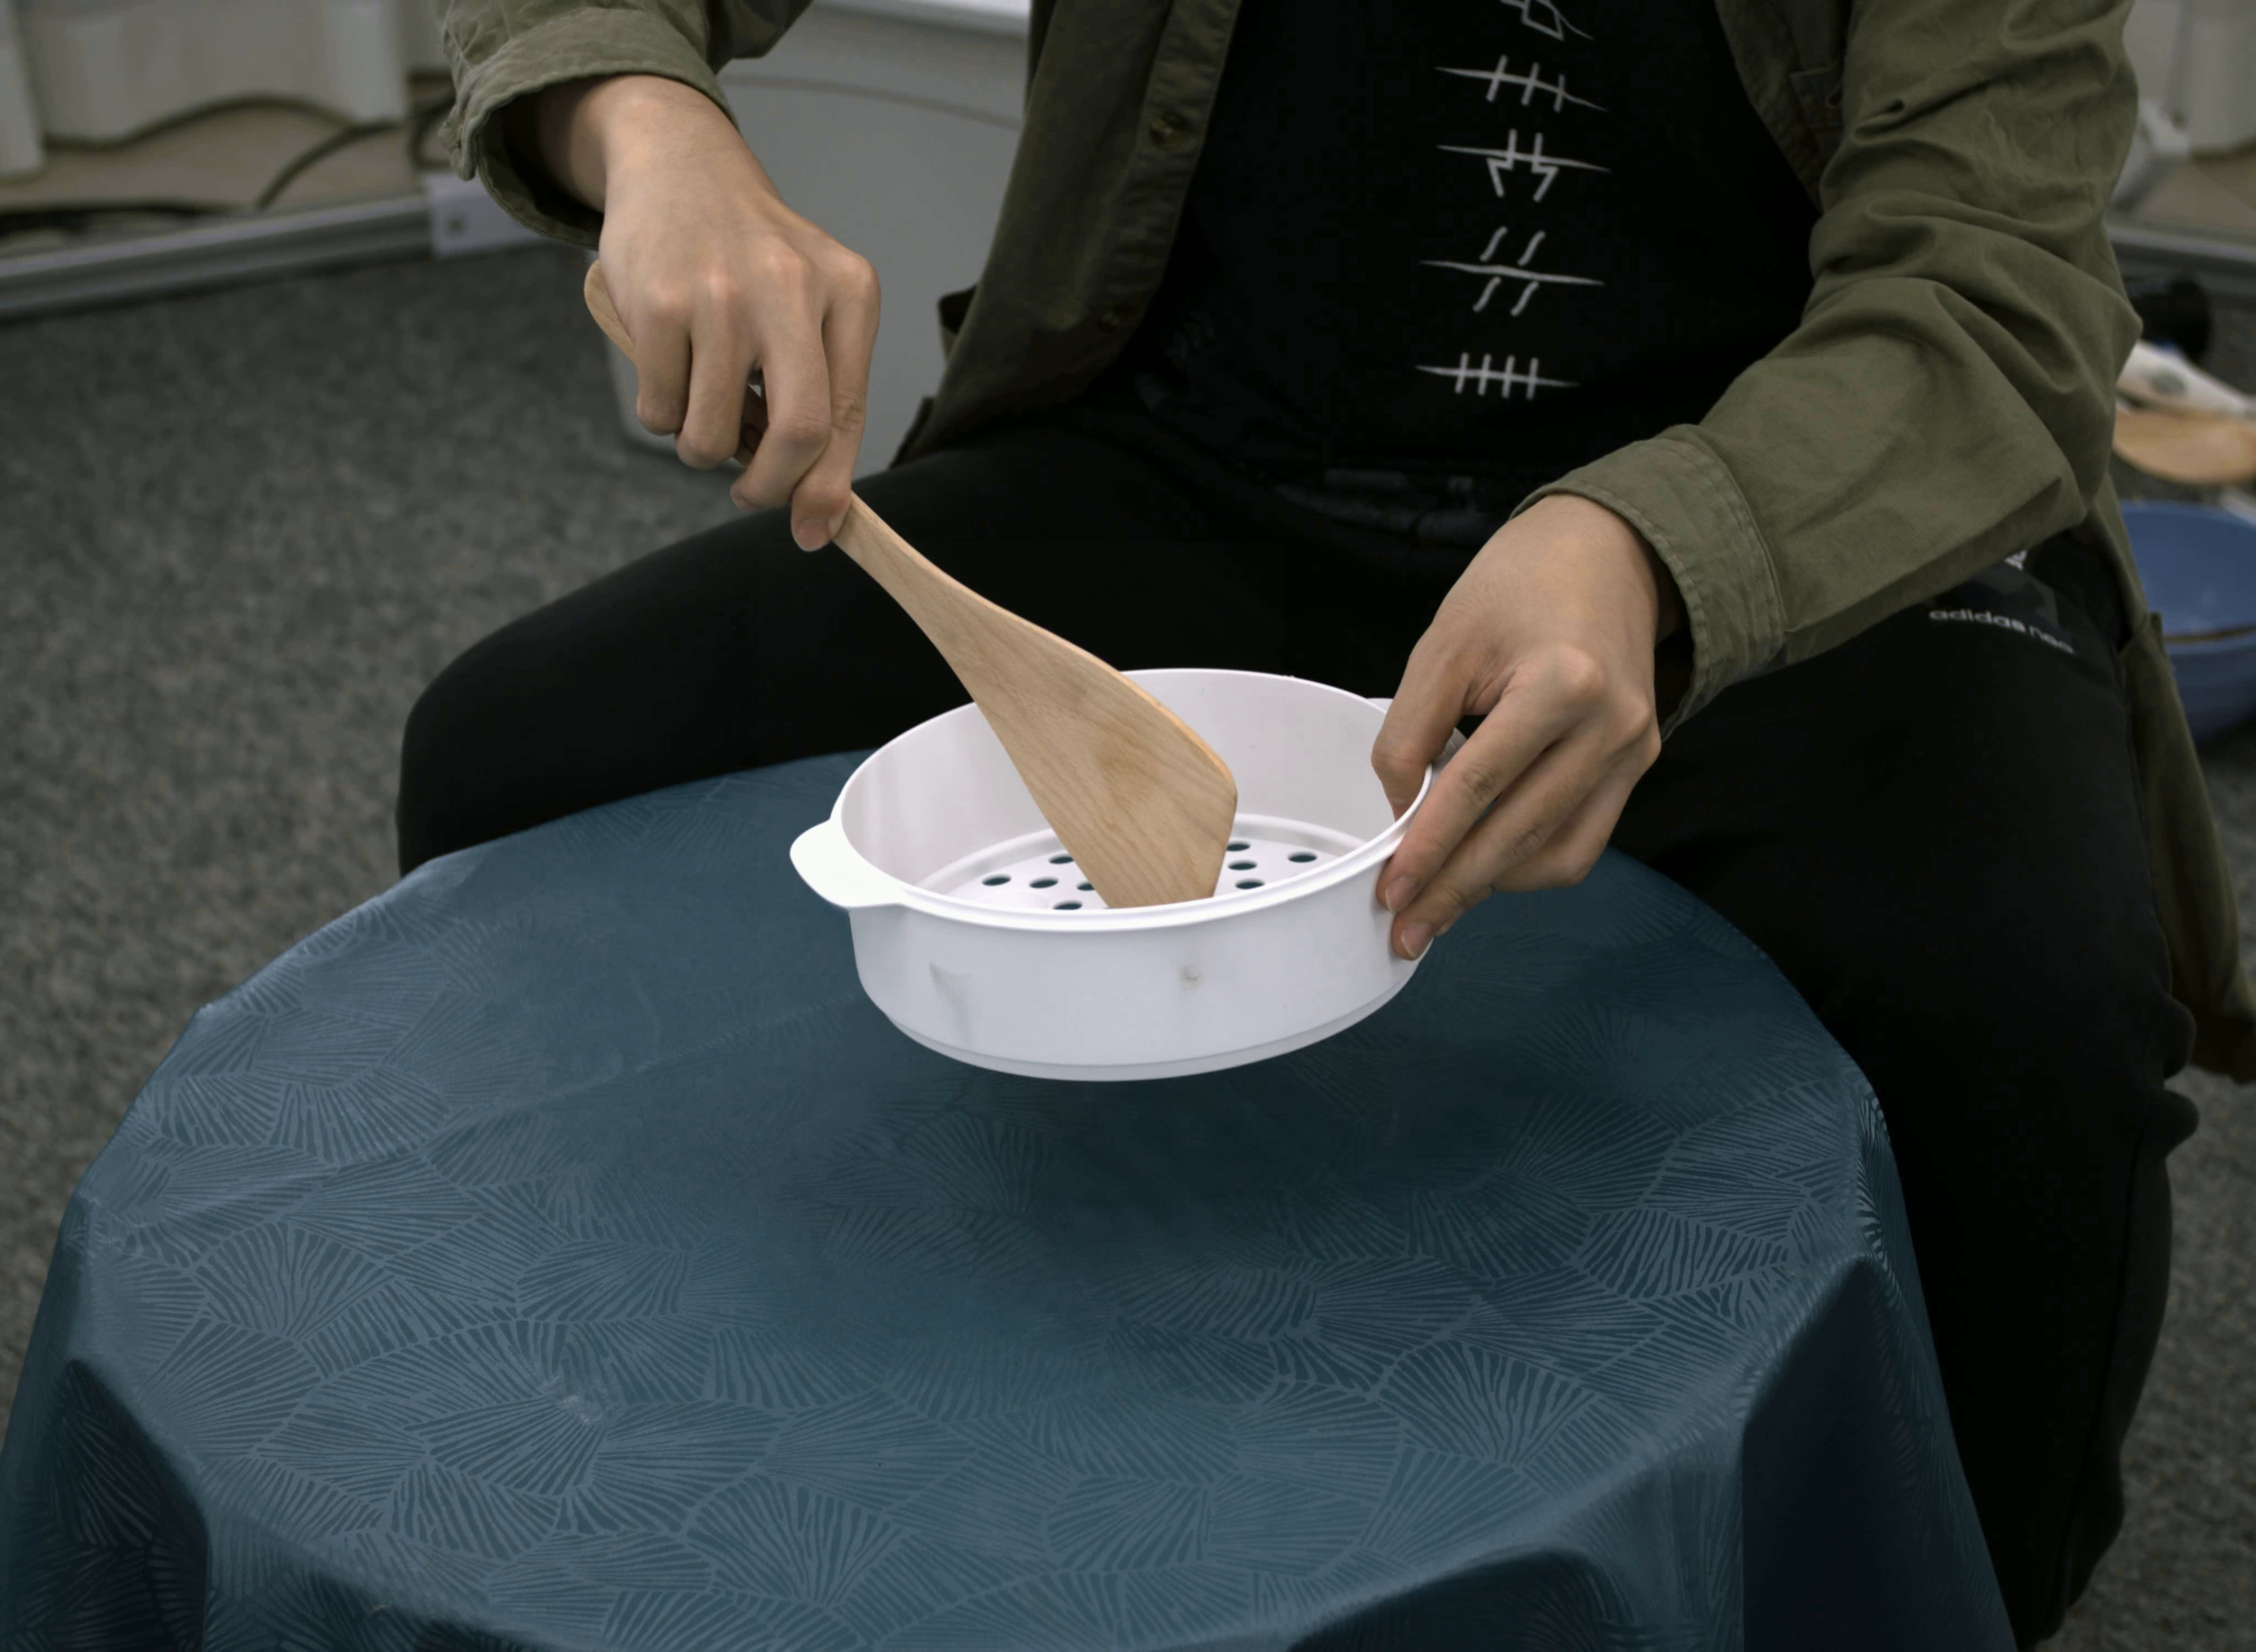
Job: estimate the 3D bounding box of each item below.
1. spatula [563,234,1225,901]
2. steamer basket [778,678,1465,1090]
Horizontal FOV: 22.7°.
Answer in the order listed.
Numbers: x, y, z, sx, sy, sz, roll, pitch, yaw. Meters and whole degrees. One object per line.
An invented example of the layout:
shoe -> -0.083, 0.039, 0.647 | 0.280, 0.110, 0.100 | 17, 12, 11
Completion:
spatula -> -0.081, -0.090, 1.847 | 0.329, 0.078, 0.017 | 43, 40, 22
steamer basket -> 0.000, 0.019, 1.850 | 0.231, 0.068, 0.203 | -11, 24, -17
